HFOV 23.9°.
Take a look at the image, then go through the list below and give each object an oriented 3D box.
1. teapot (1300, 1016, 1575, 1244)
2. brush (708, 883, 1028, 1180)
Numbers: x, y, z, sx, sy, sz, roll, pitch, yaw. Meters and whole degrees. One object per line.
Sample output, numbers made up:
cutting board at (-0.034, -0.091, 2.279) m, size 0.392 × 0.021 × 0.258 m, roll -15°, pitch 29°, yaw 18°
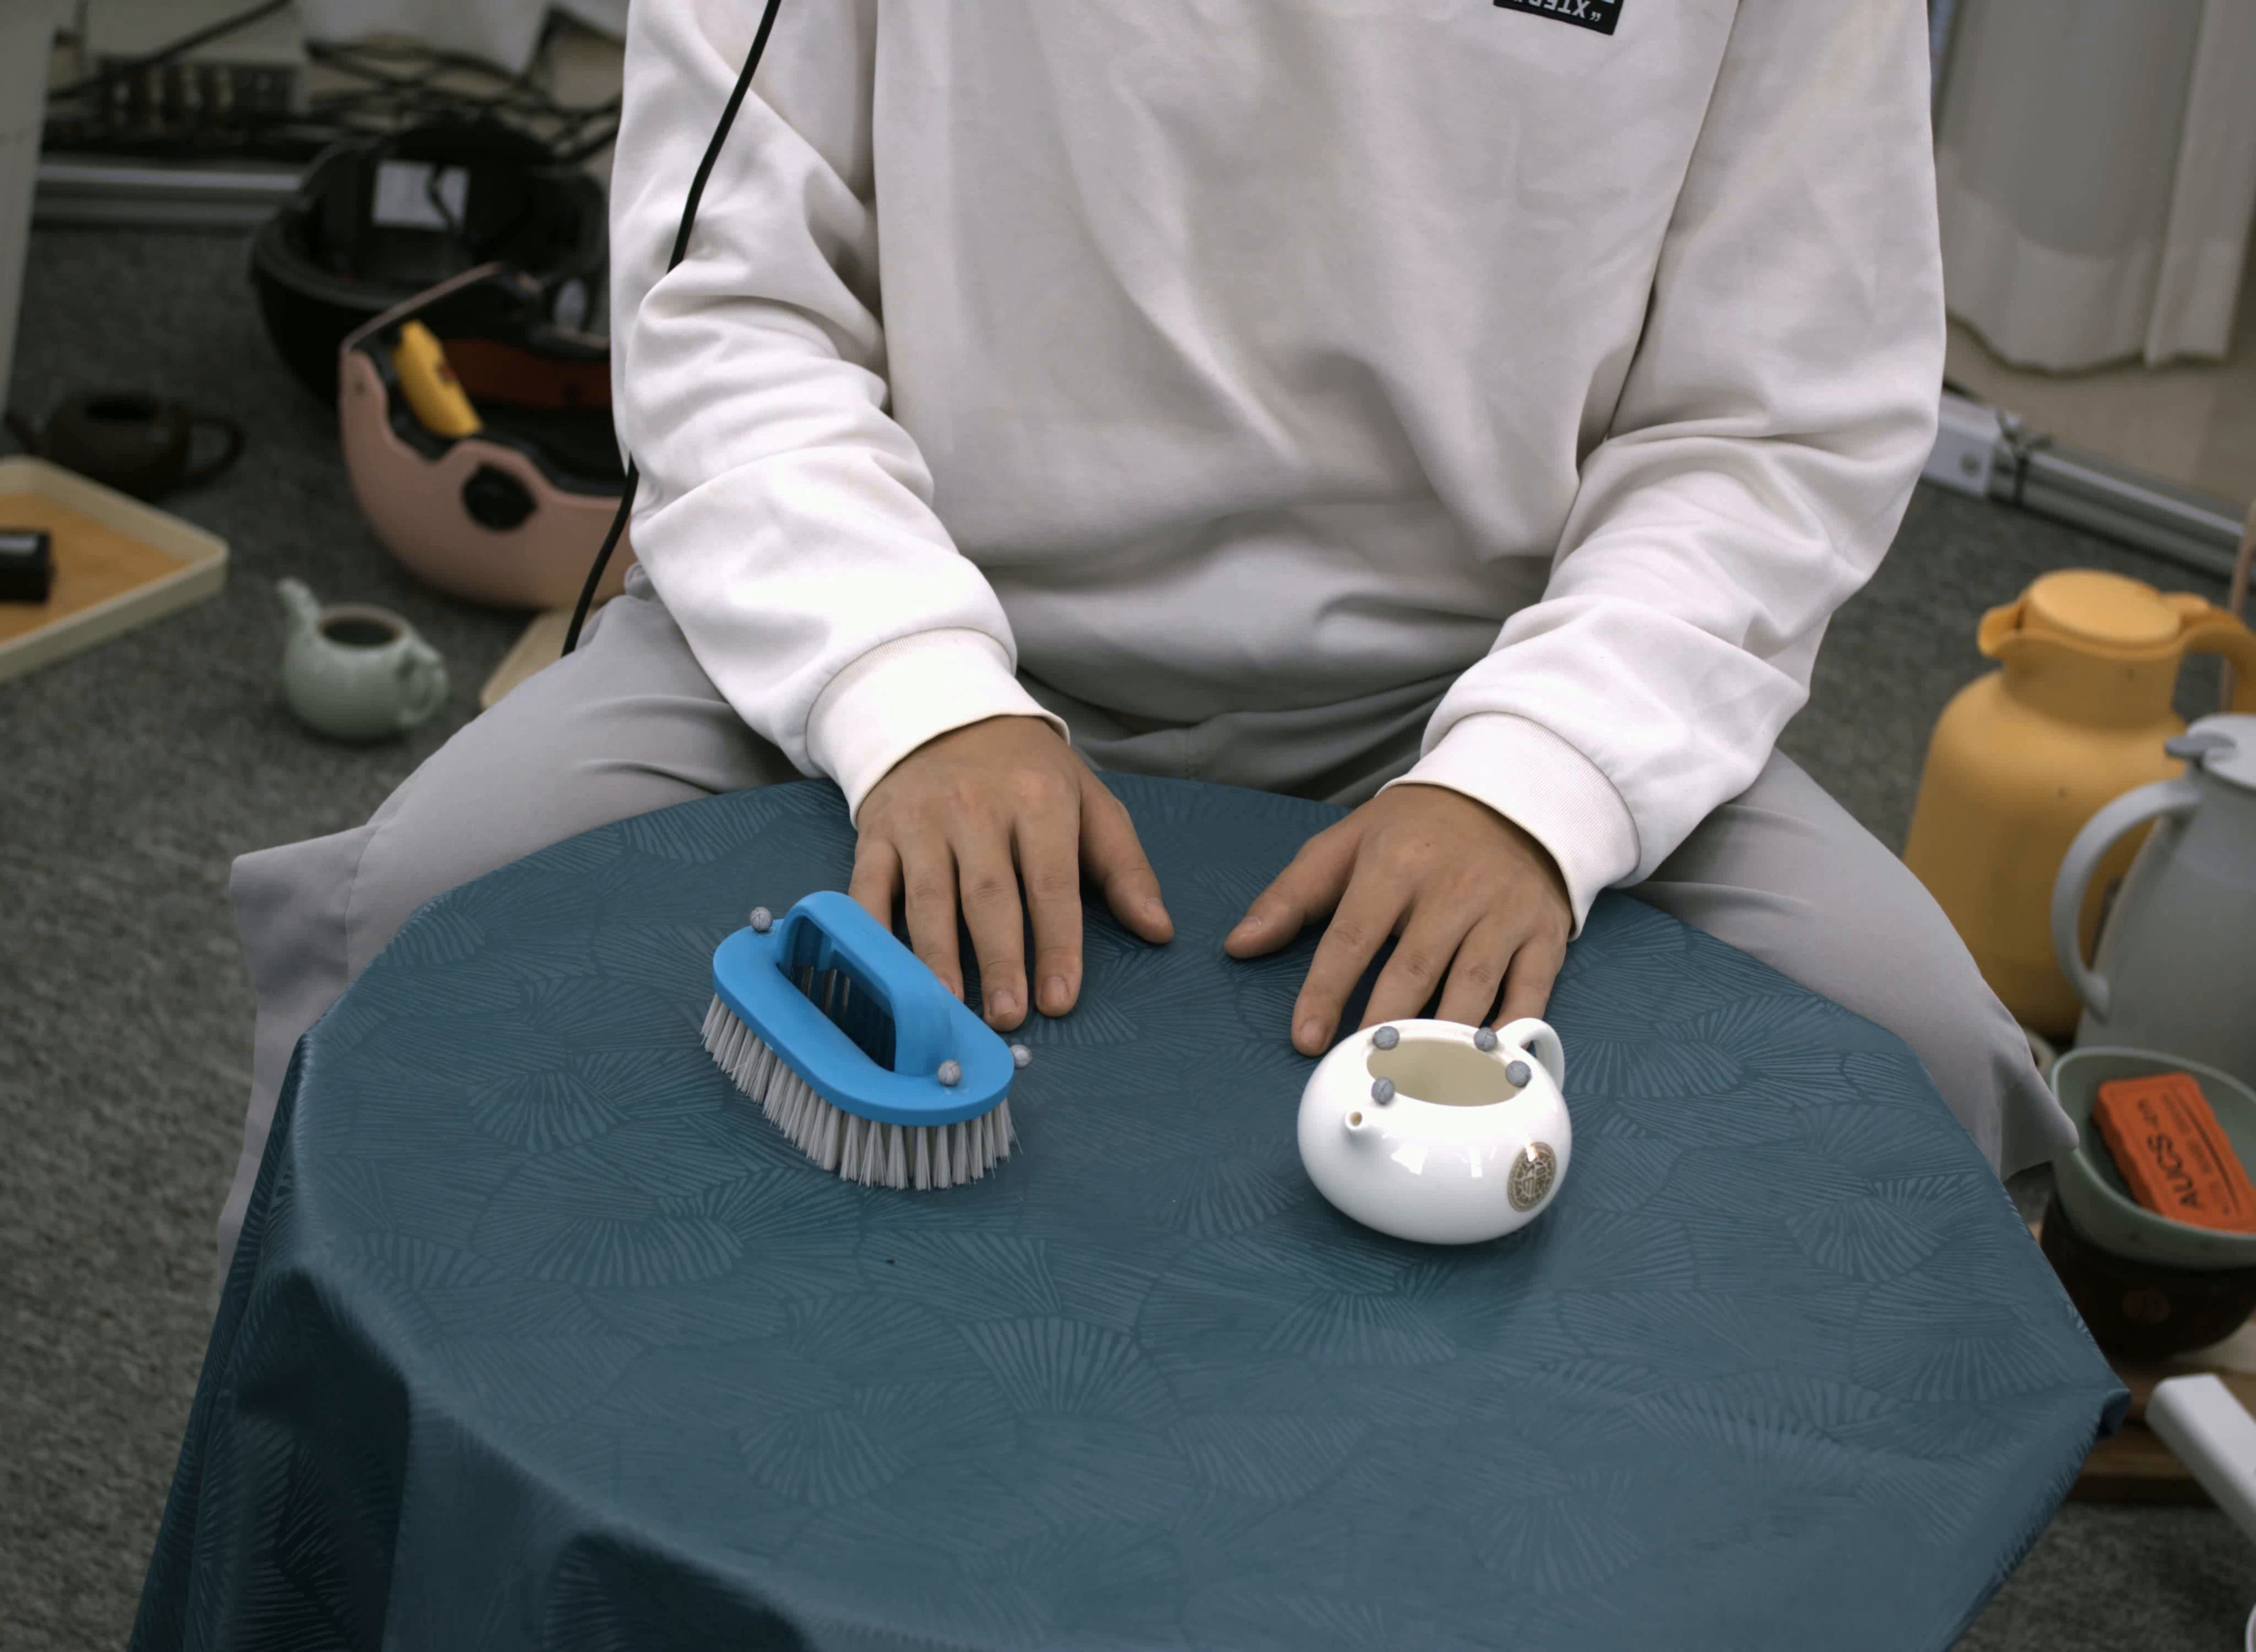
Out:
teapot at (0.111, 0.101, 1.816) m, size 0.094 × 0.056 × 0.127 m, roll 18°, pitch 27°, yaw 30°
brush at (-0.092, 0.062, 1.834) m, size 0.084 × 0.063 × 0.143 m, roll -14°, pitch 32°, yaw -27°
